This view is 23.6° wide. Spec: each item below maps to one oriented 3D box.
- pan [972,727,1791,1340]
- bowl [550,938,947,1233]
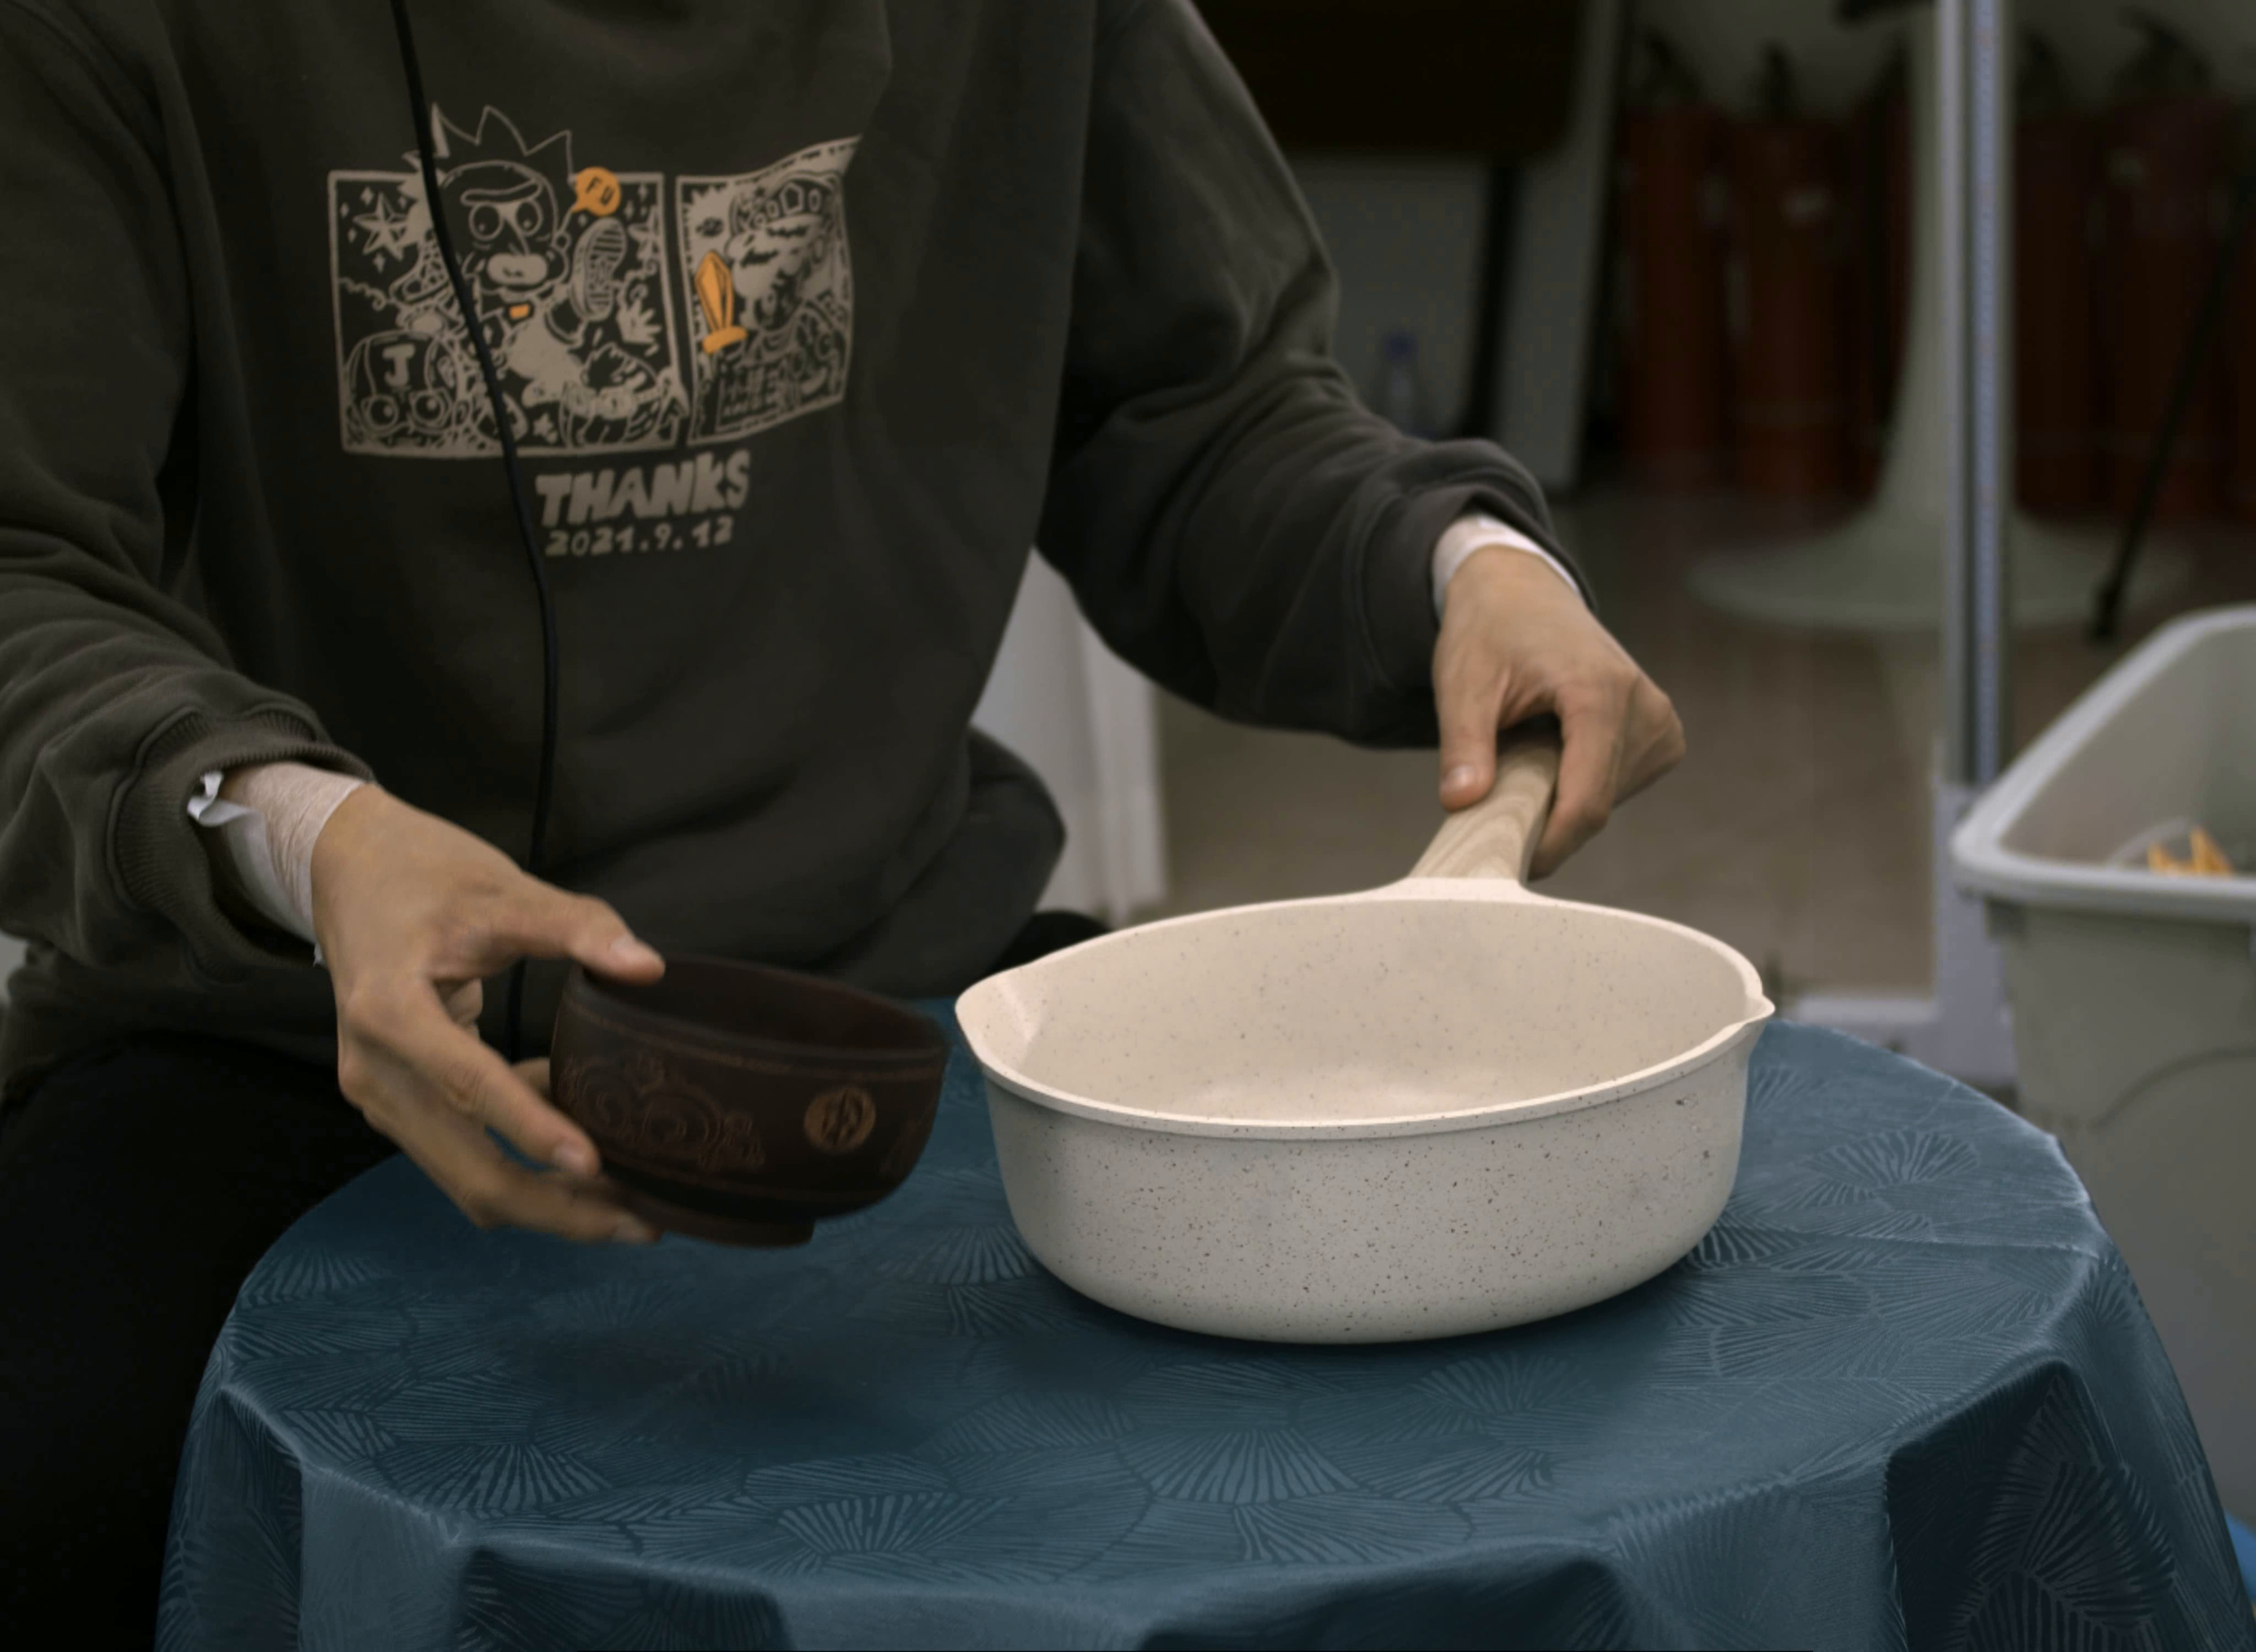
[{"bbox_3d":[0.105,0.065,1.773,0.262,0.103,0.431,-2,13,17],"label":"pan"},{"bbox_3d":[-0.115,0.079,1.597,0.116,0.071,0.118,9,7,-2],"label":"bowl"}]
